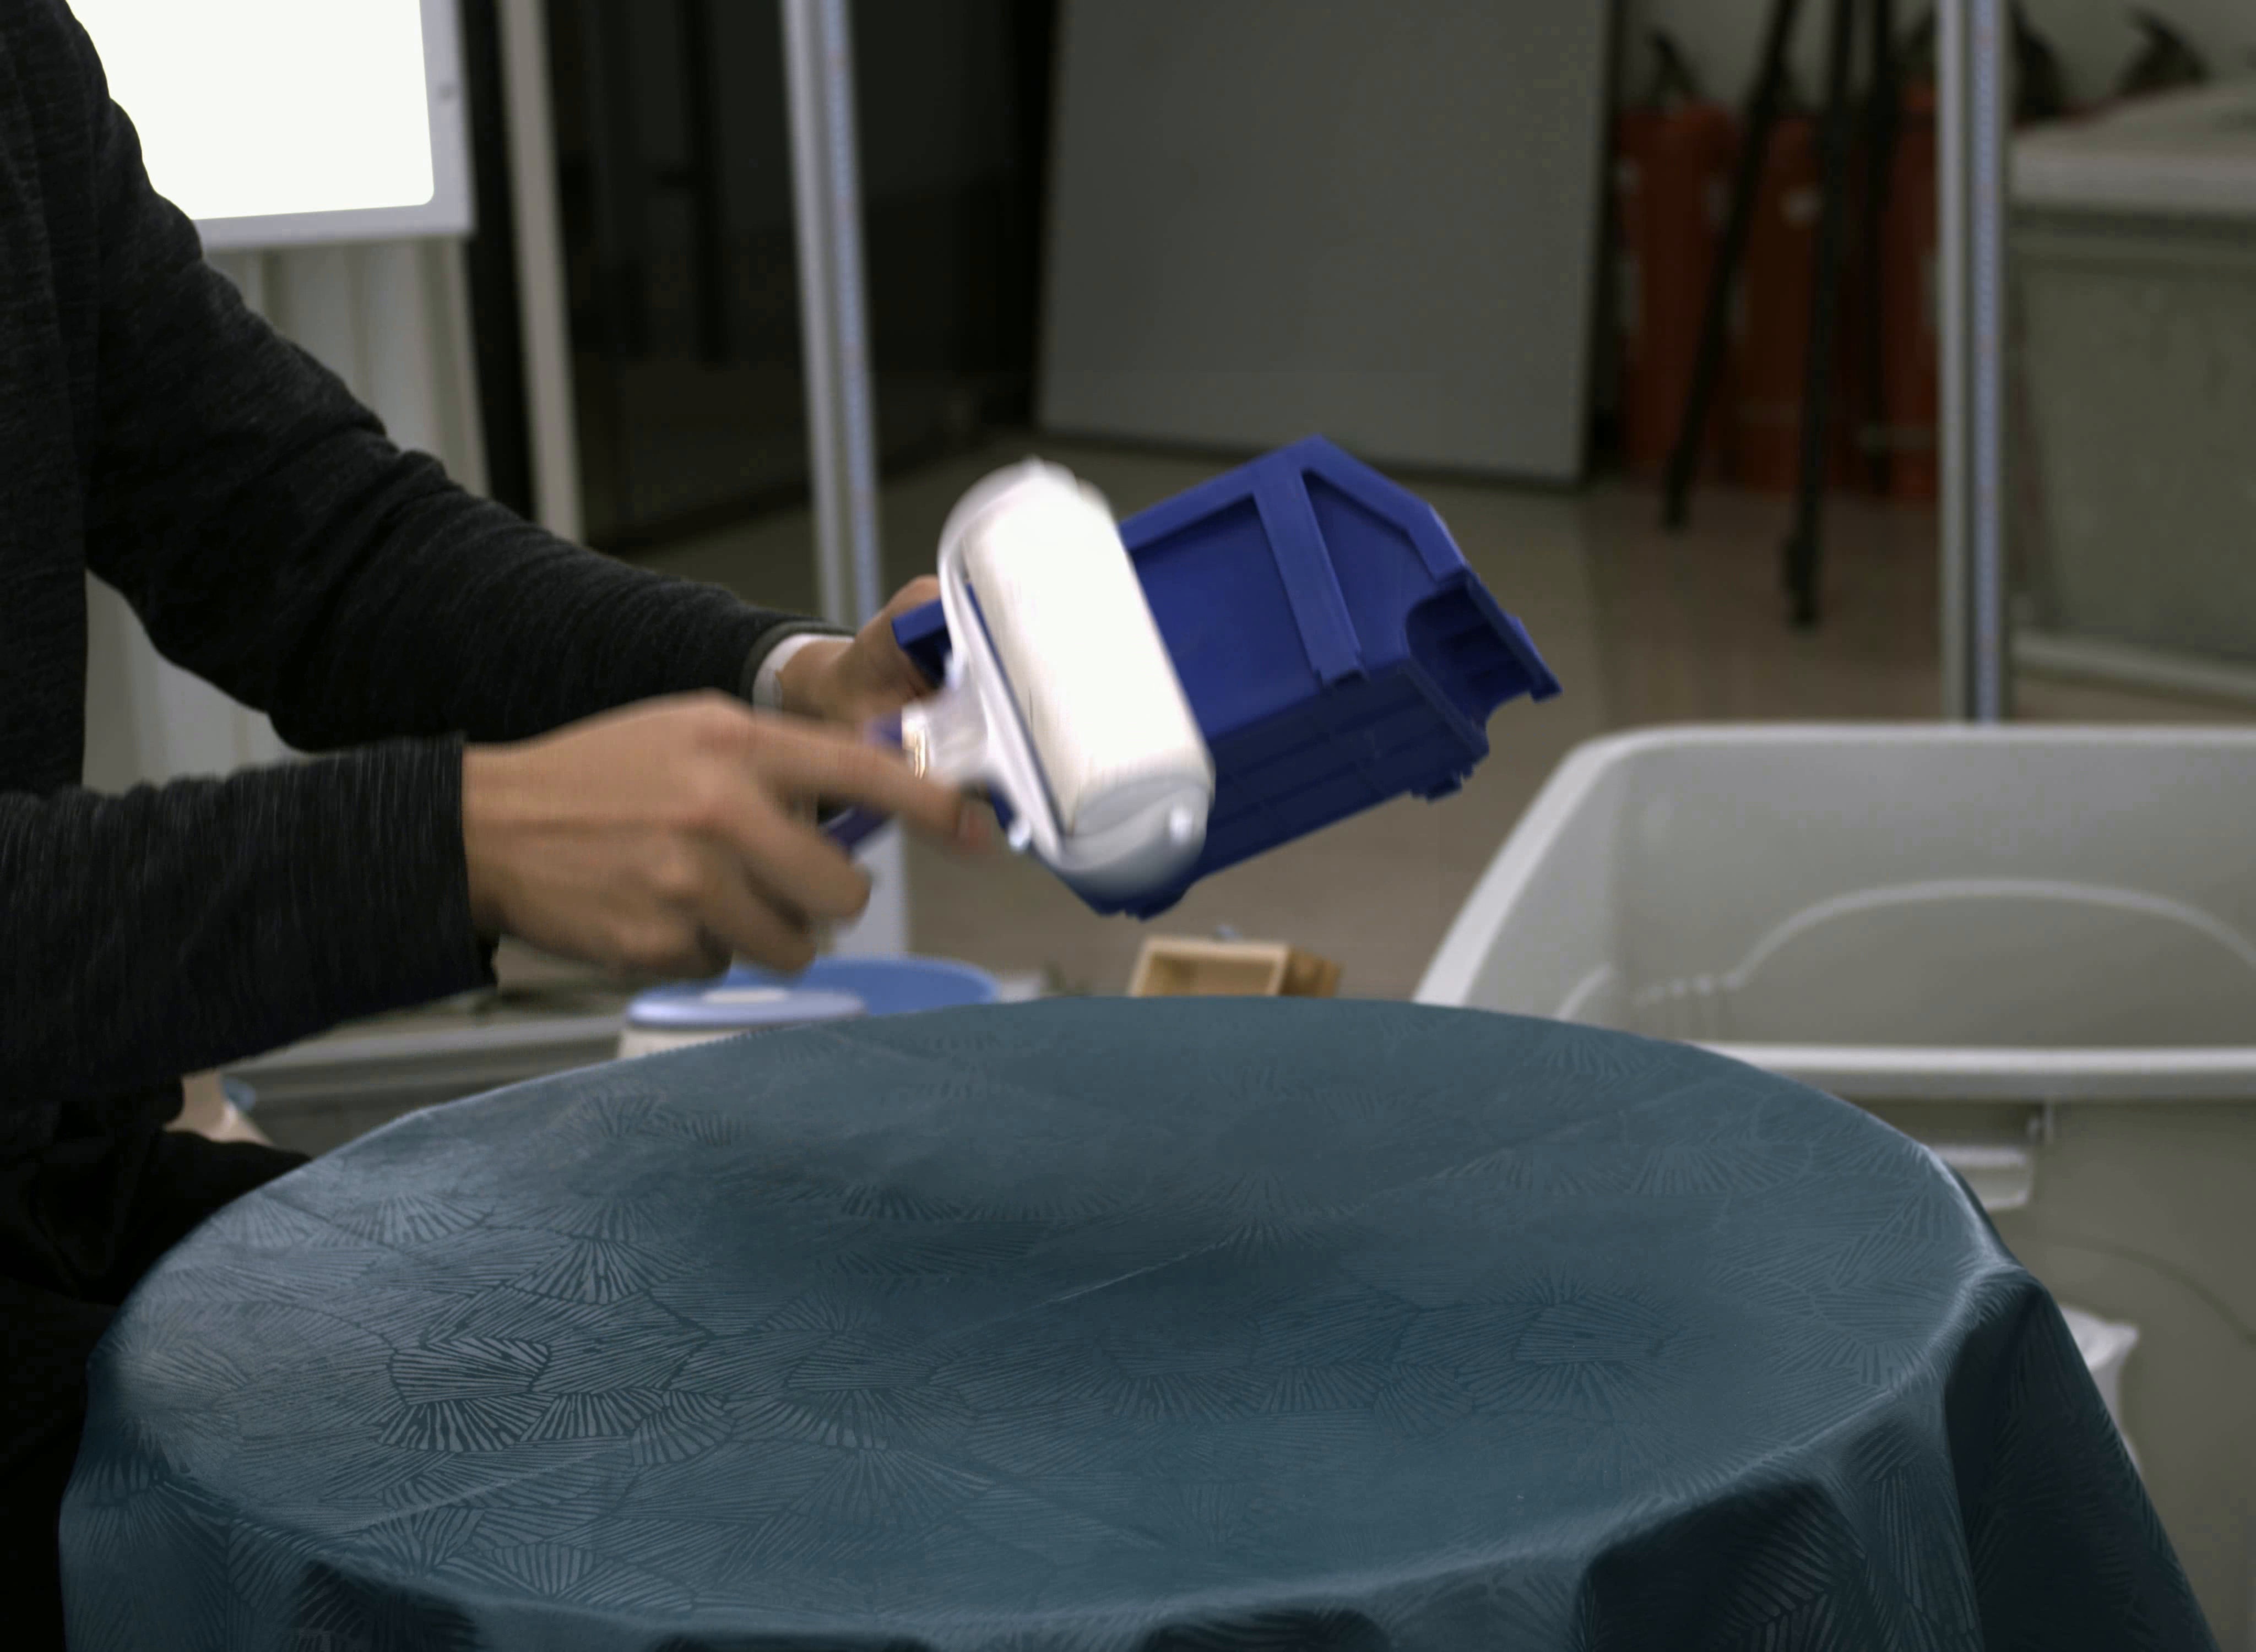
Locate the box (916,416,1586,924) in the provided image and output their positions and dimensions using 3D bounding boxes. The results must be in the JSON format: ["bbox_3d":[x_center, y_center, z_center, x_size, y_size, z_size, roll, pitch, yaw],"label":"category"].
[{"bbox_3d":[0.044,-0.049,1.715,0.179,0.083,0.123,-26,-26,12],"label":"box"}]

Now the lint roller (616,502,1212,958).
[{"bbox_3d":[-0.072,-0.012,1.570,0.179,0.135,0.050,-20,-29,6],"label":"lint roller"}]
